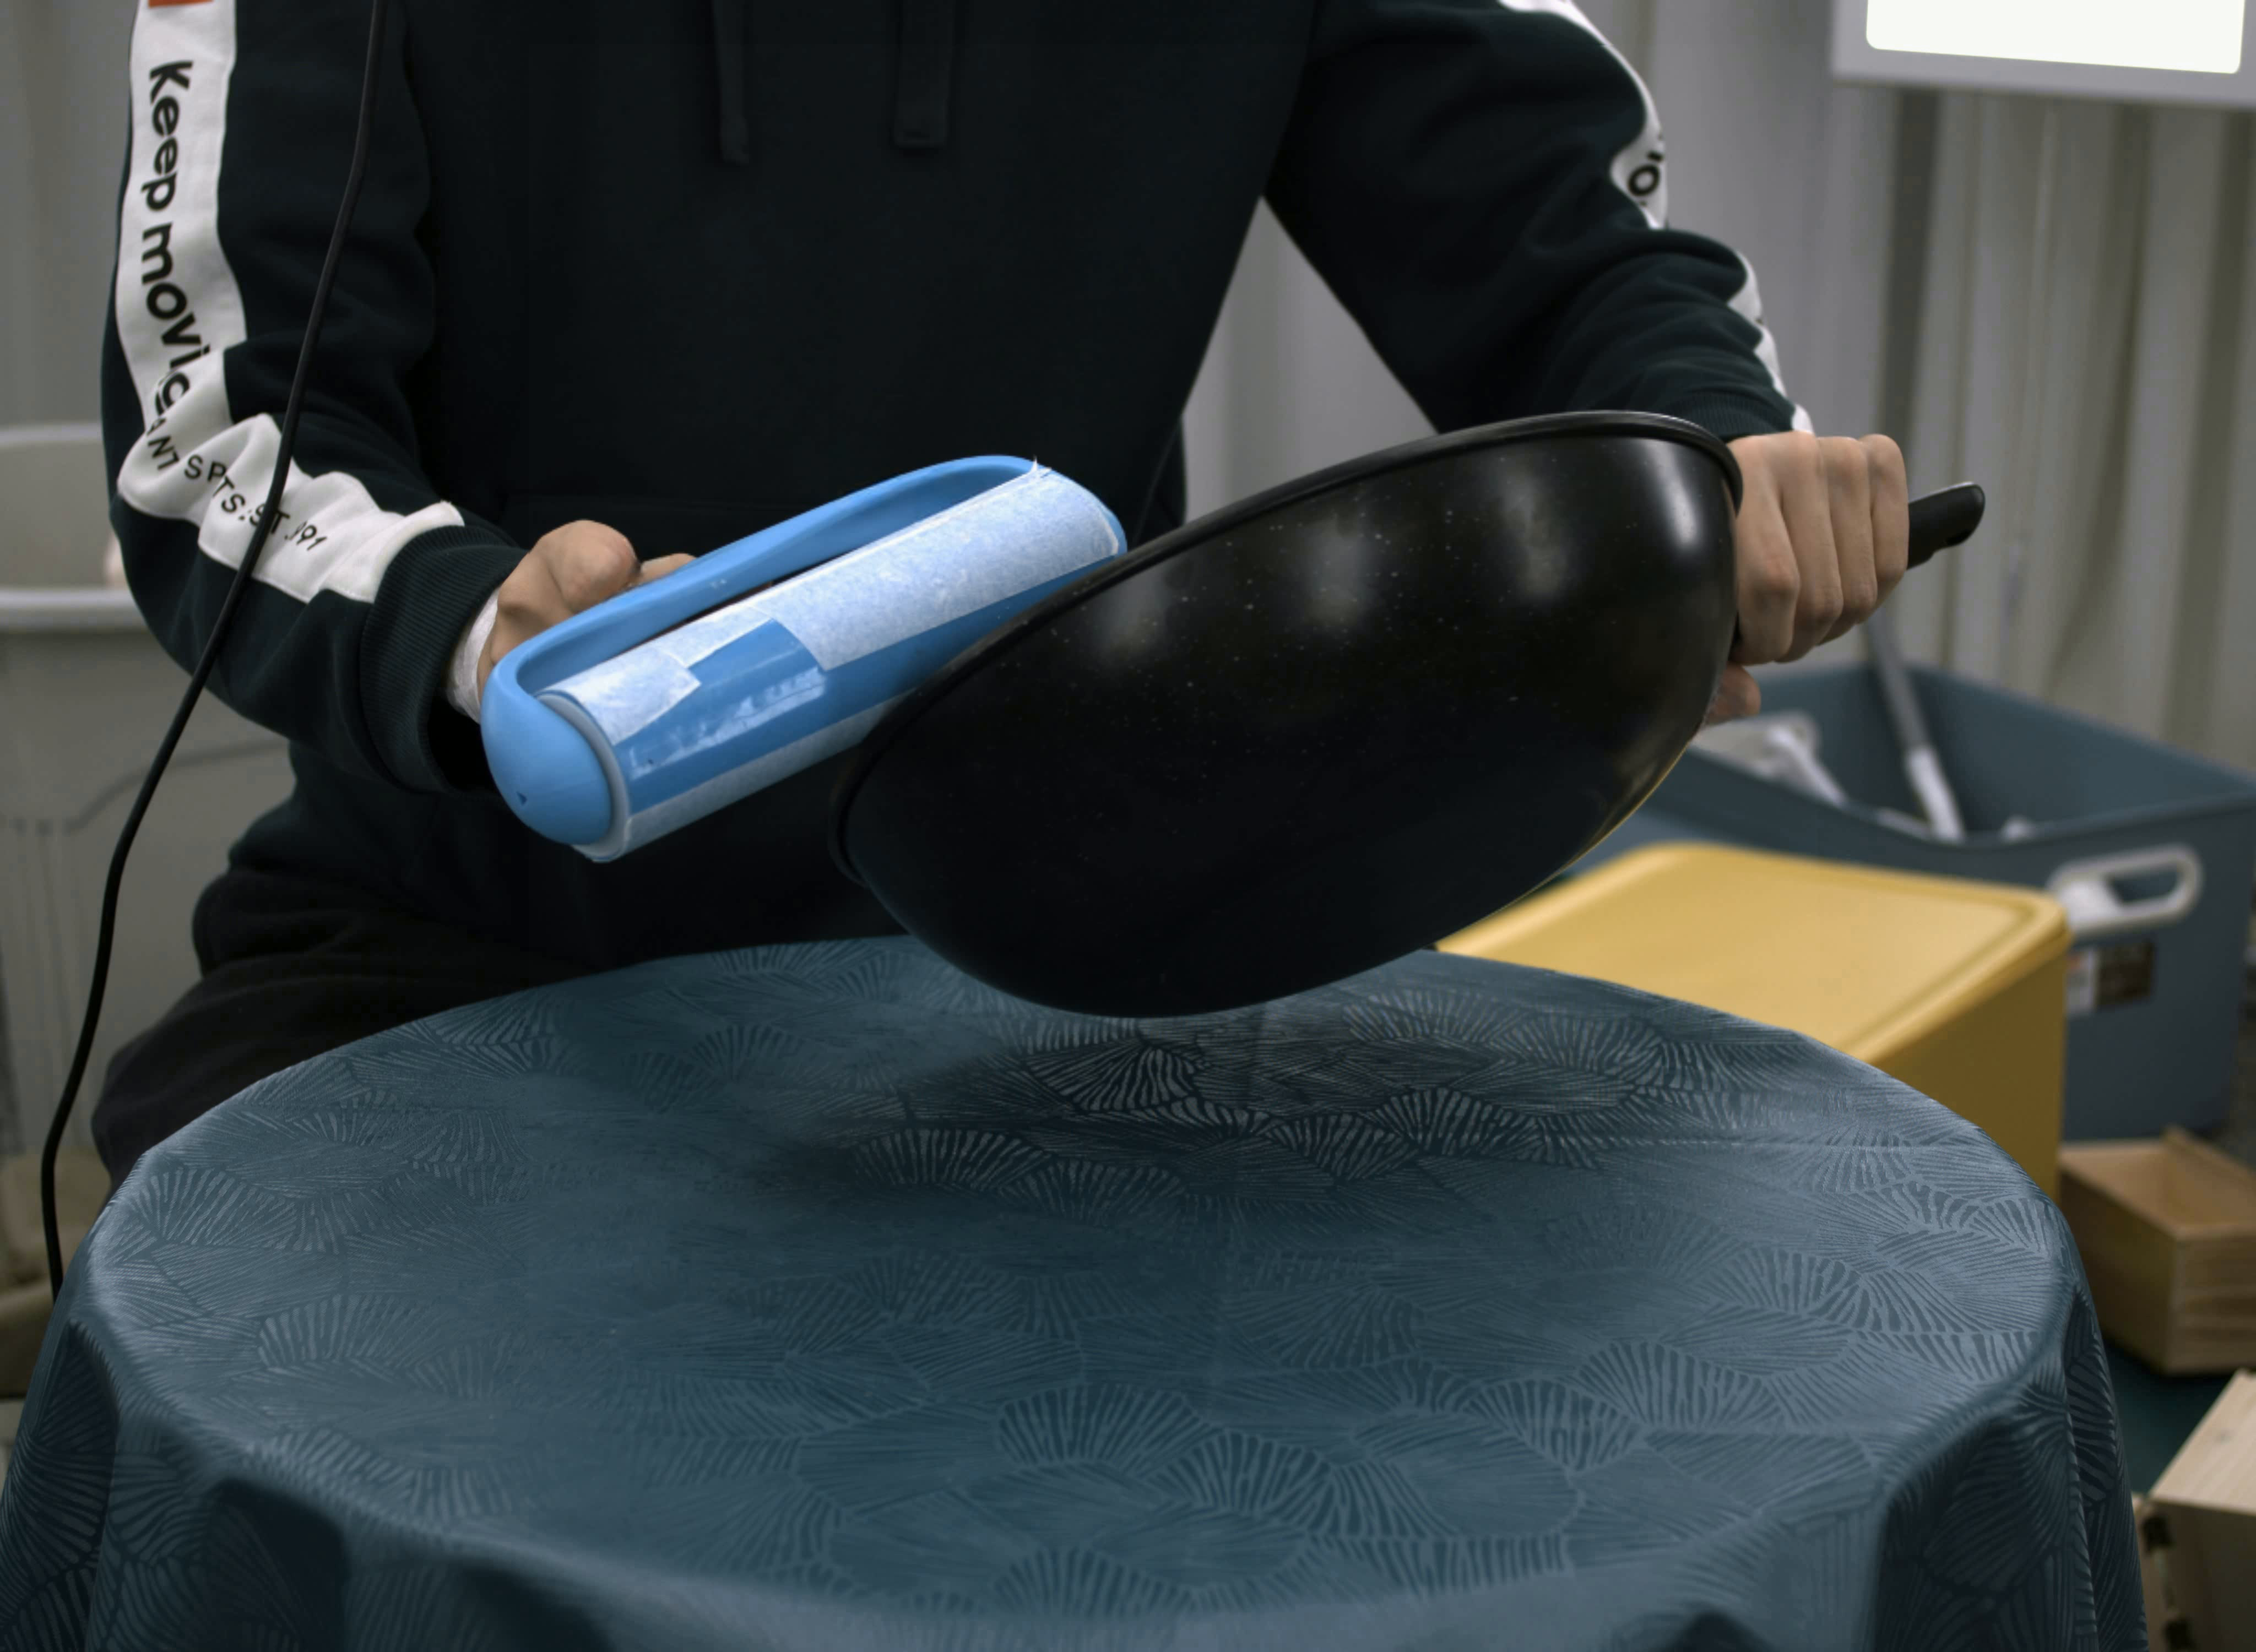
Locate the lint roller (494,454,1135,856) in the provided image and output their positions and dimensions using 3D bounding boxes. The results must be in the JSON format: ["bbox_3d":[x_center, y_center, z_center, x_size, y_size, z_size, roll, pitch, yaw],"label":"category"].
[{"bbox_3d":[-0.125,-0.050,1.607,0.229,0.068,0.178,-30,17,-38],"label":"lint roller"}]

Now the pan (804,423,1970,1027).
[{"bbox_3d":[0.120,-0.033,1.683,0.479,0.111,0.310,-9,-20,-38],"label":"pan"}]
